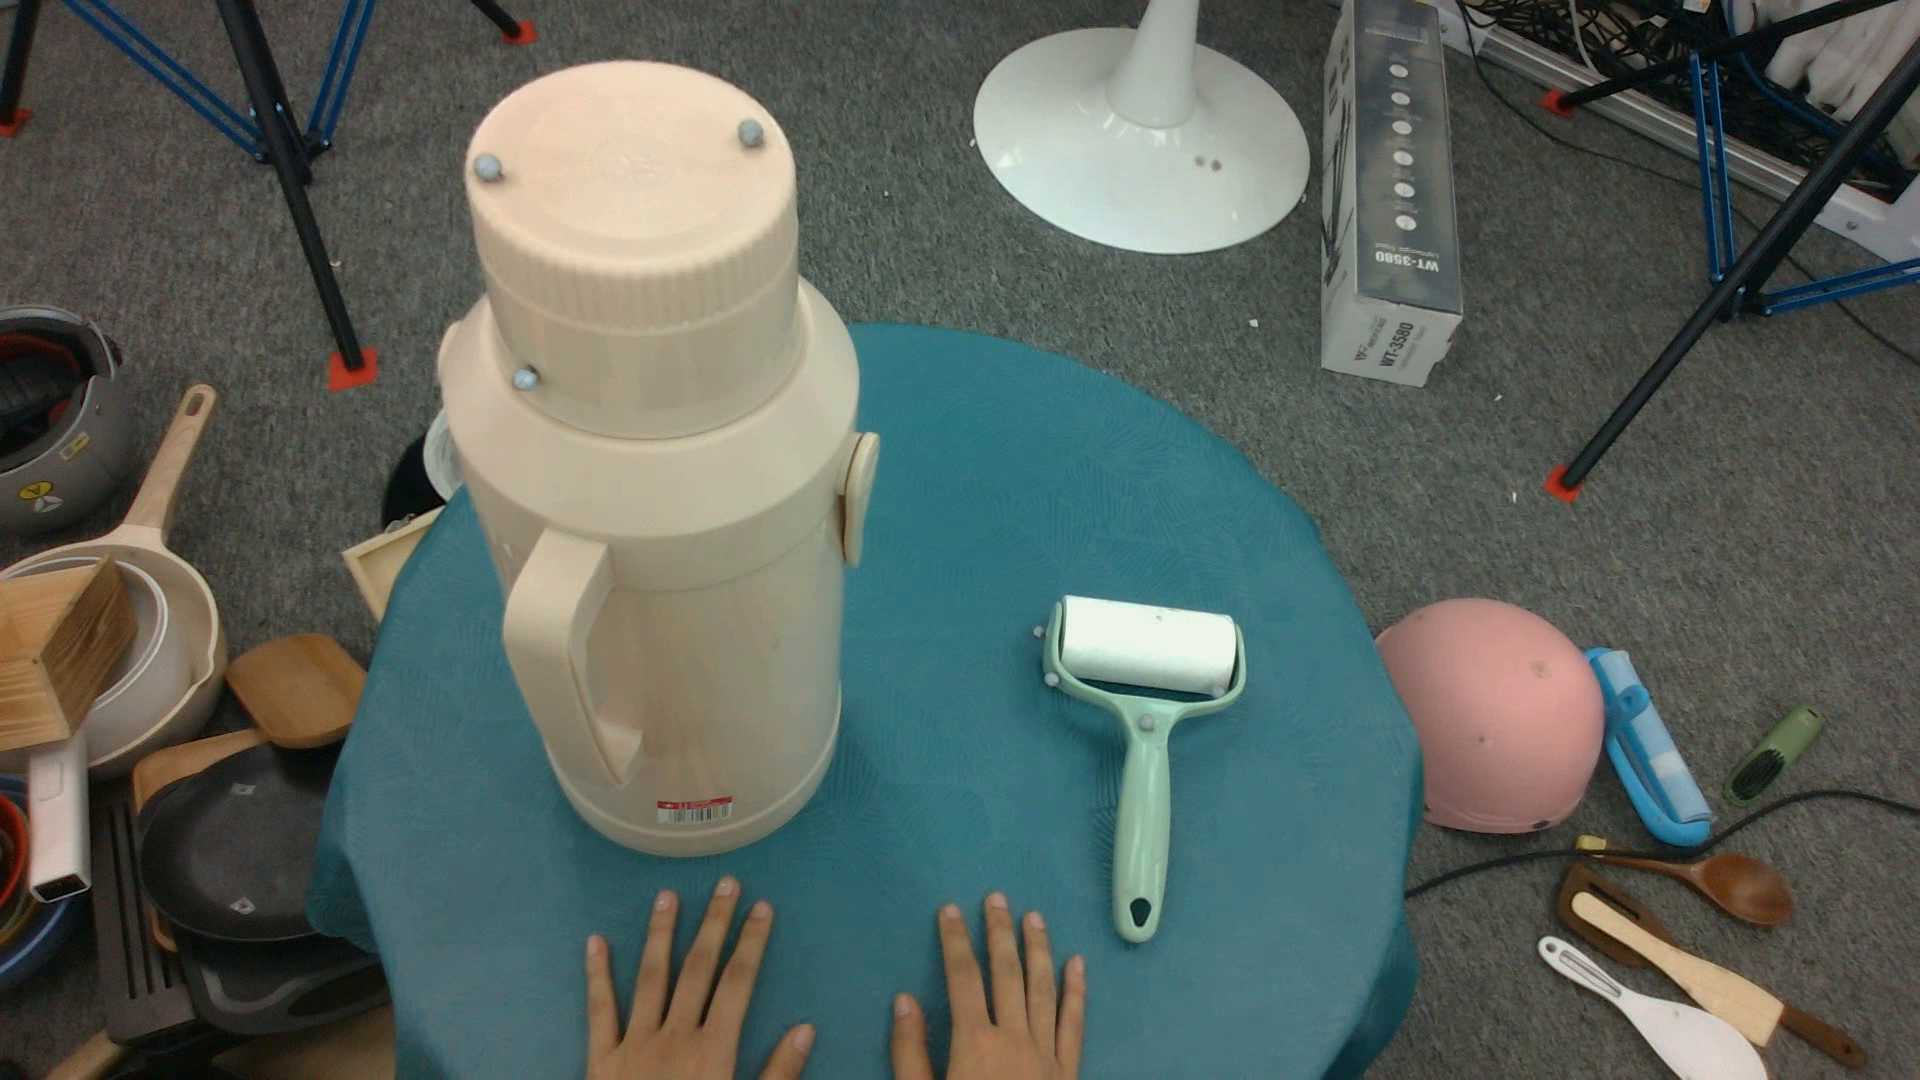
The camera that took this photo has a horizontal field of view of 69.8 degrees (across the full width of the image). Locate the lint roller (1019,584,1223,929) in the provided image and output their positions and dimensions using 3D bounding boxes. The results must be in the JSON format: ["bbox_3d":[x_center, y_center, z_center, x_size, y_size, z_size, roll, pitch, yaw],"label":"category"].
[{"bbox_3d":[0.088,0.114,0.766,0.116,0.048,0.198,9,53,-5],"label":"lint roller"}]

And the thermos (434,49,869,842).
[{"bbox_3d":[-0.136,-0.004,0.604,0.175,0.404,0.208,16,55,2],"label":"thermos"}]
